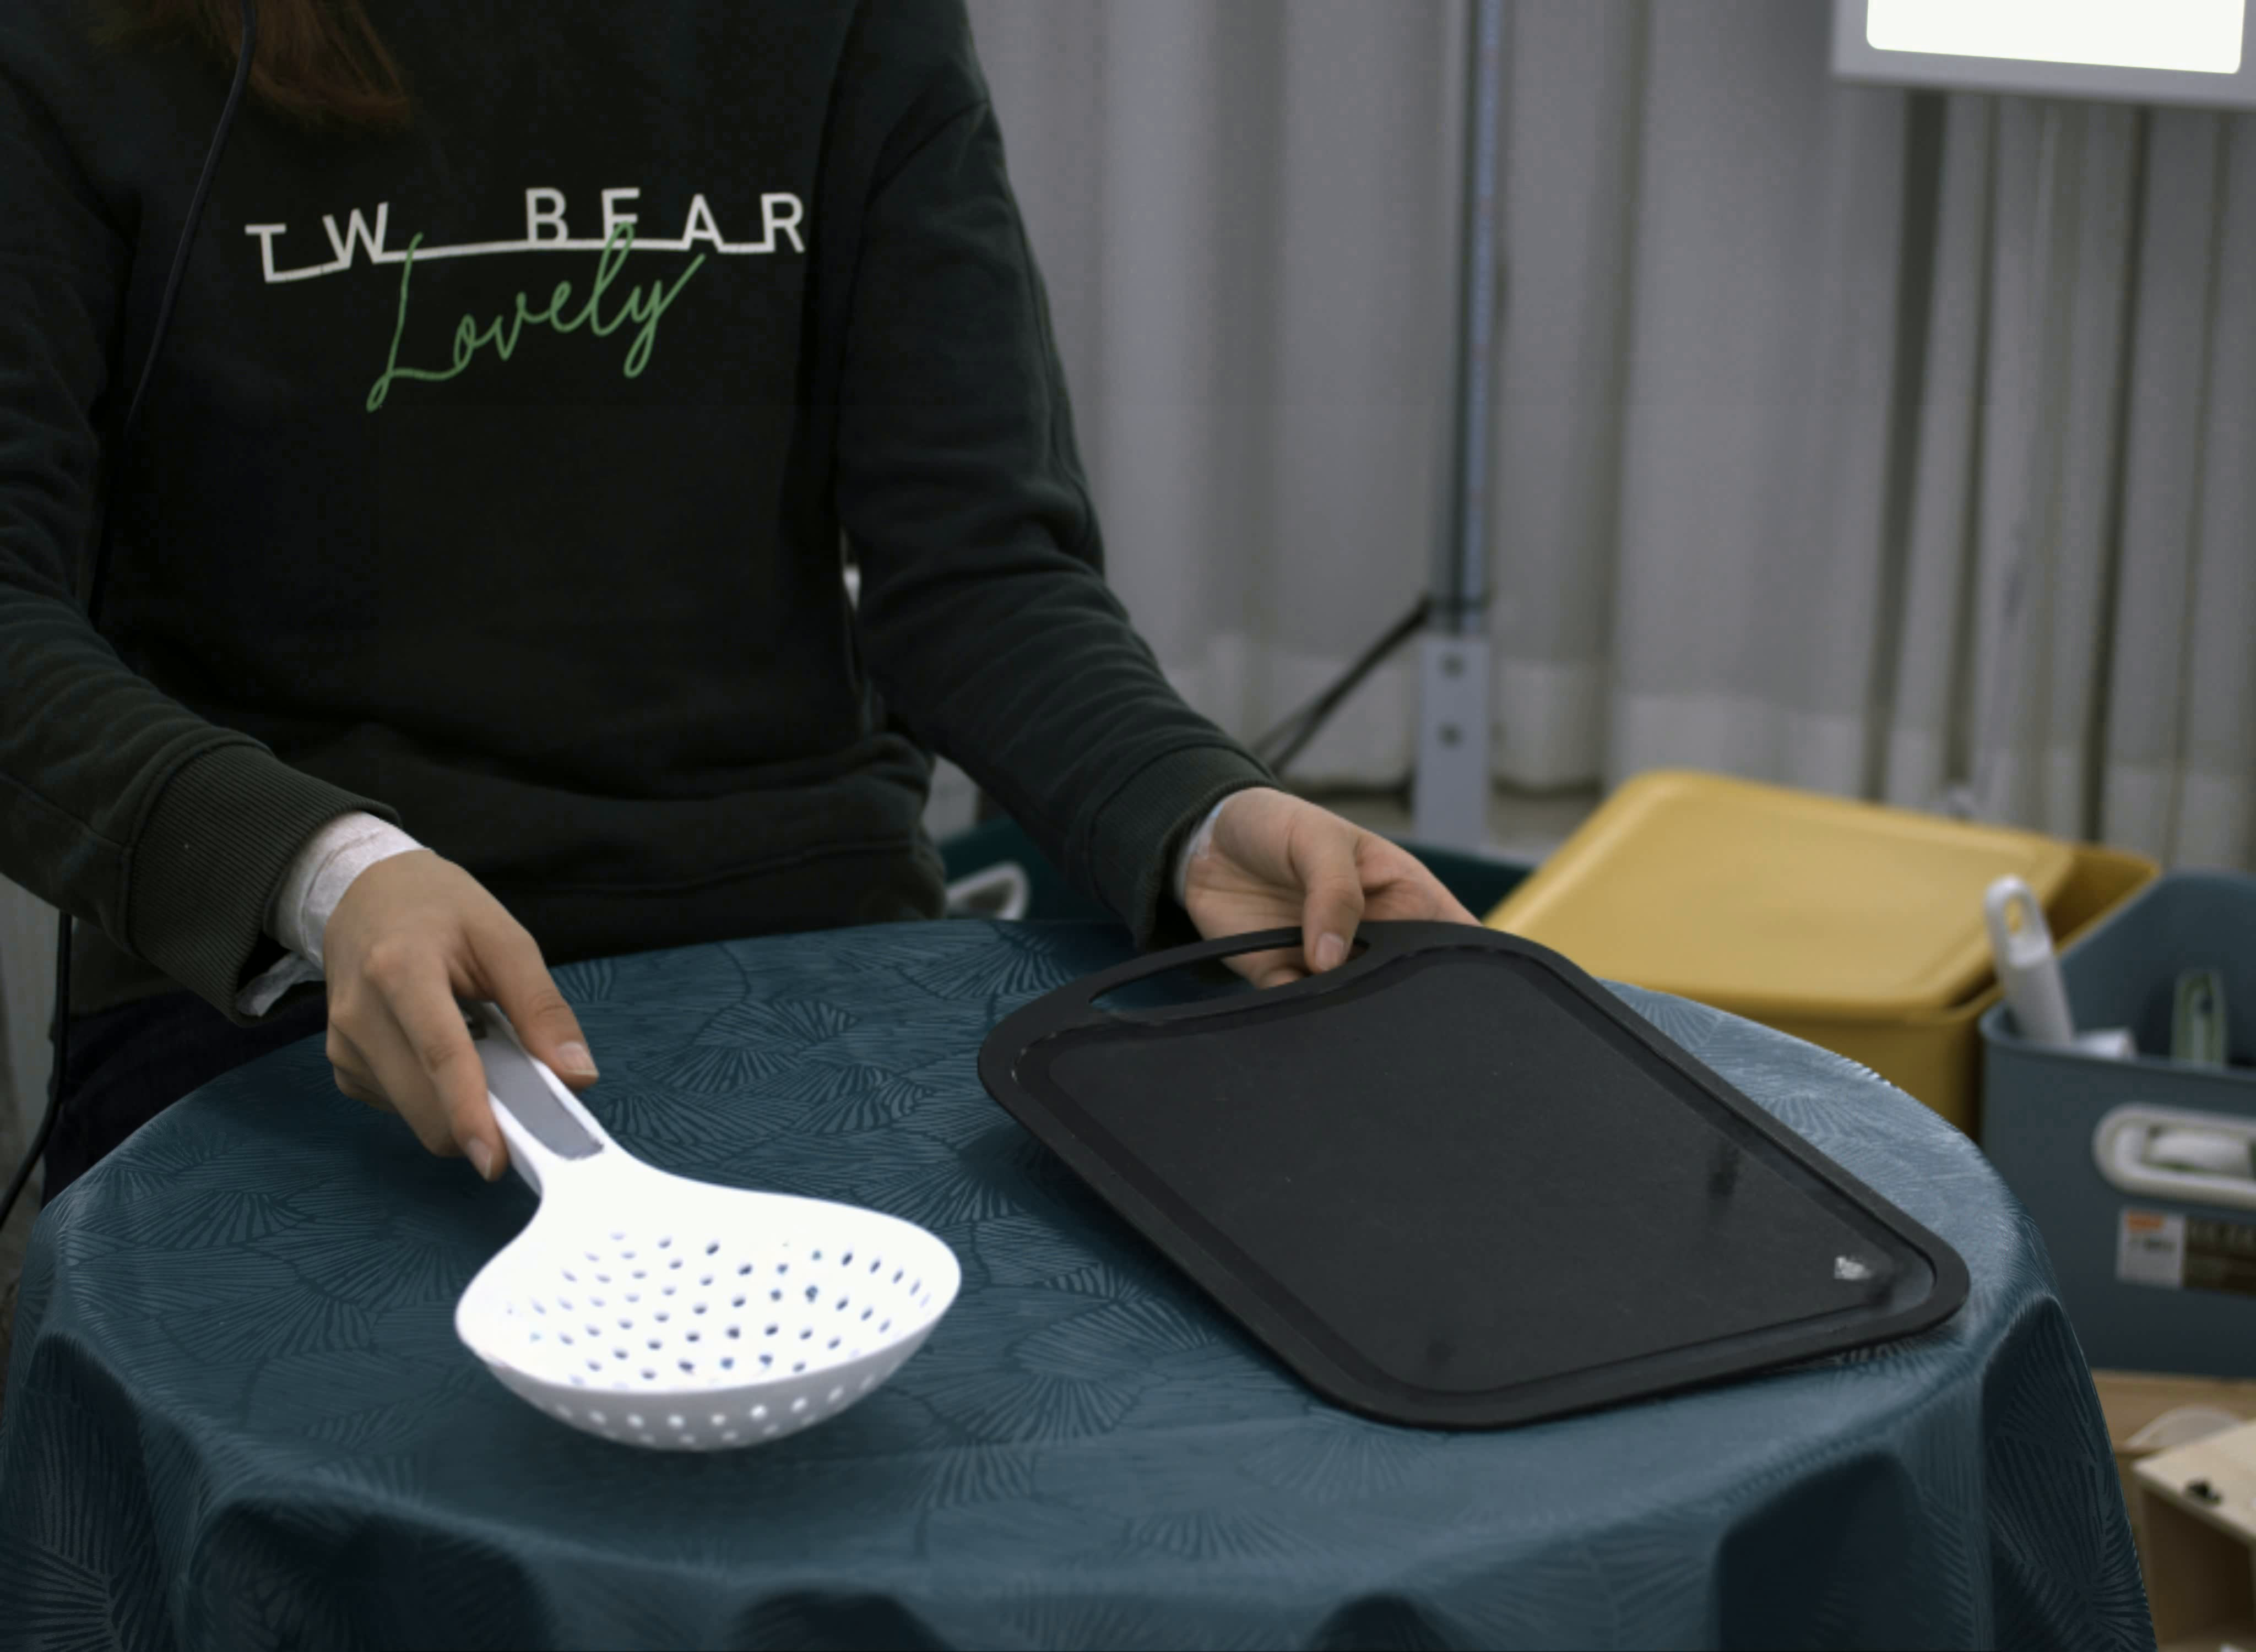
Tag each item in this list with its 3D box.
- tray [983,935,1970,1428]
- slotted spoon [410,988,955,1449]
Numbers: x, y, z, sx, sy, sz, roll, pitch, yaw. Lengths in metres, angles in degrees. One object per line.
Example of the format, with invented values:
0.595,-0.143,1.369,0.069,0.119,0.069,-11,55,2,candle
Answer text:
0.095,0.098,1.599,0.212,0.010,0.321,-10,25,-25,tray
-0.153,0.104,1.511,0.136,0.046,0.345,-9,23,-20,slotted spoon
